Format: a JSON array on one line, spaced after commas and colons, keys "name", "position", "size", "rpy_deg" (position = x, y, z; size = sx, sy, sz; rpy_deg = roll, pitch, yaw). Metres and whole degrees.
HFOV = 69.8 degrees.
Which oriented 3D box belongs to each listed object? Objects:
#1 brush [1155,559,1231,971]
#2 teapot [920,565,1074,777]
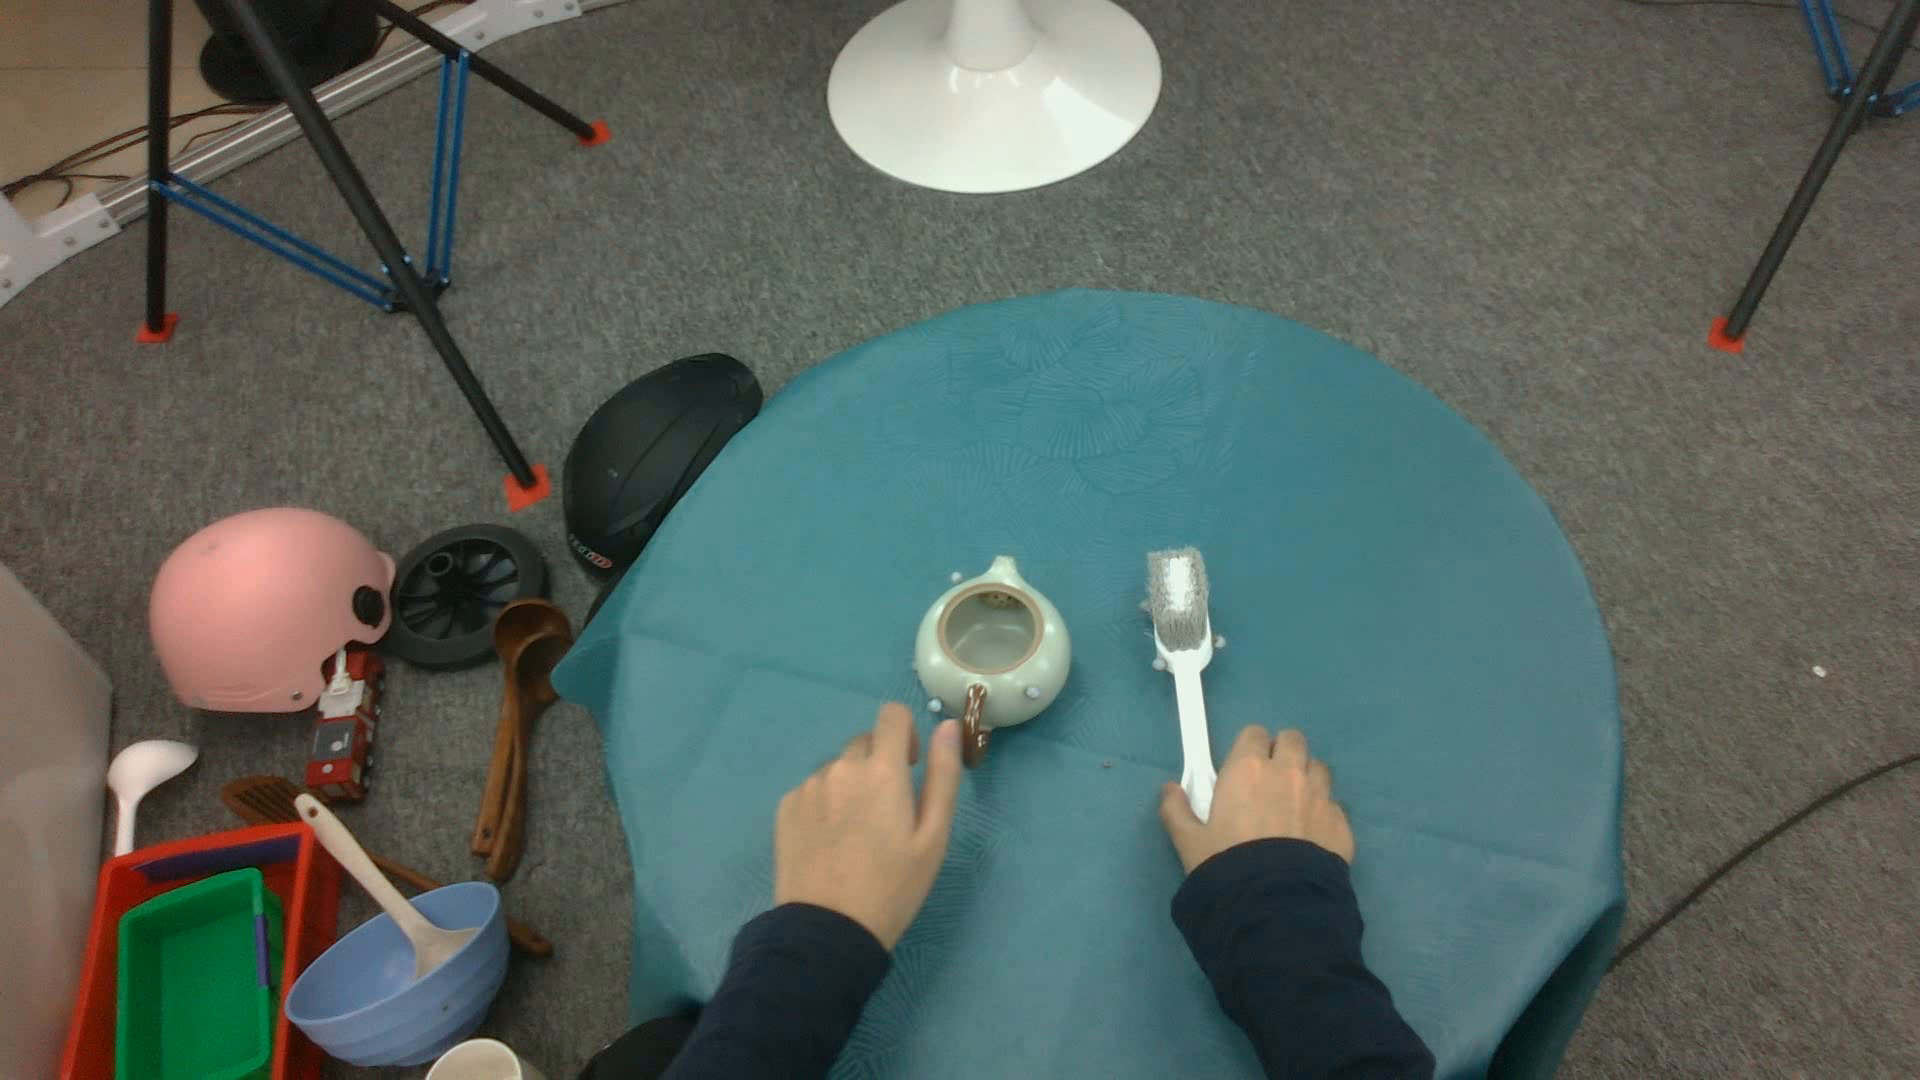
[{"name": "brush", "position": [0.132, 0.116, 0.779], "size": [0.034, 0.050, 0.245], "rpy_deg": [-5, 54, 11]}, {"name": "teapot", "position": [0.020, 0.079, 0.814], "size": [0.092, 0.059, 0.128], "rpy_deg": [7, 54, 7]}]
